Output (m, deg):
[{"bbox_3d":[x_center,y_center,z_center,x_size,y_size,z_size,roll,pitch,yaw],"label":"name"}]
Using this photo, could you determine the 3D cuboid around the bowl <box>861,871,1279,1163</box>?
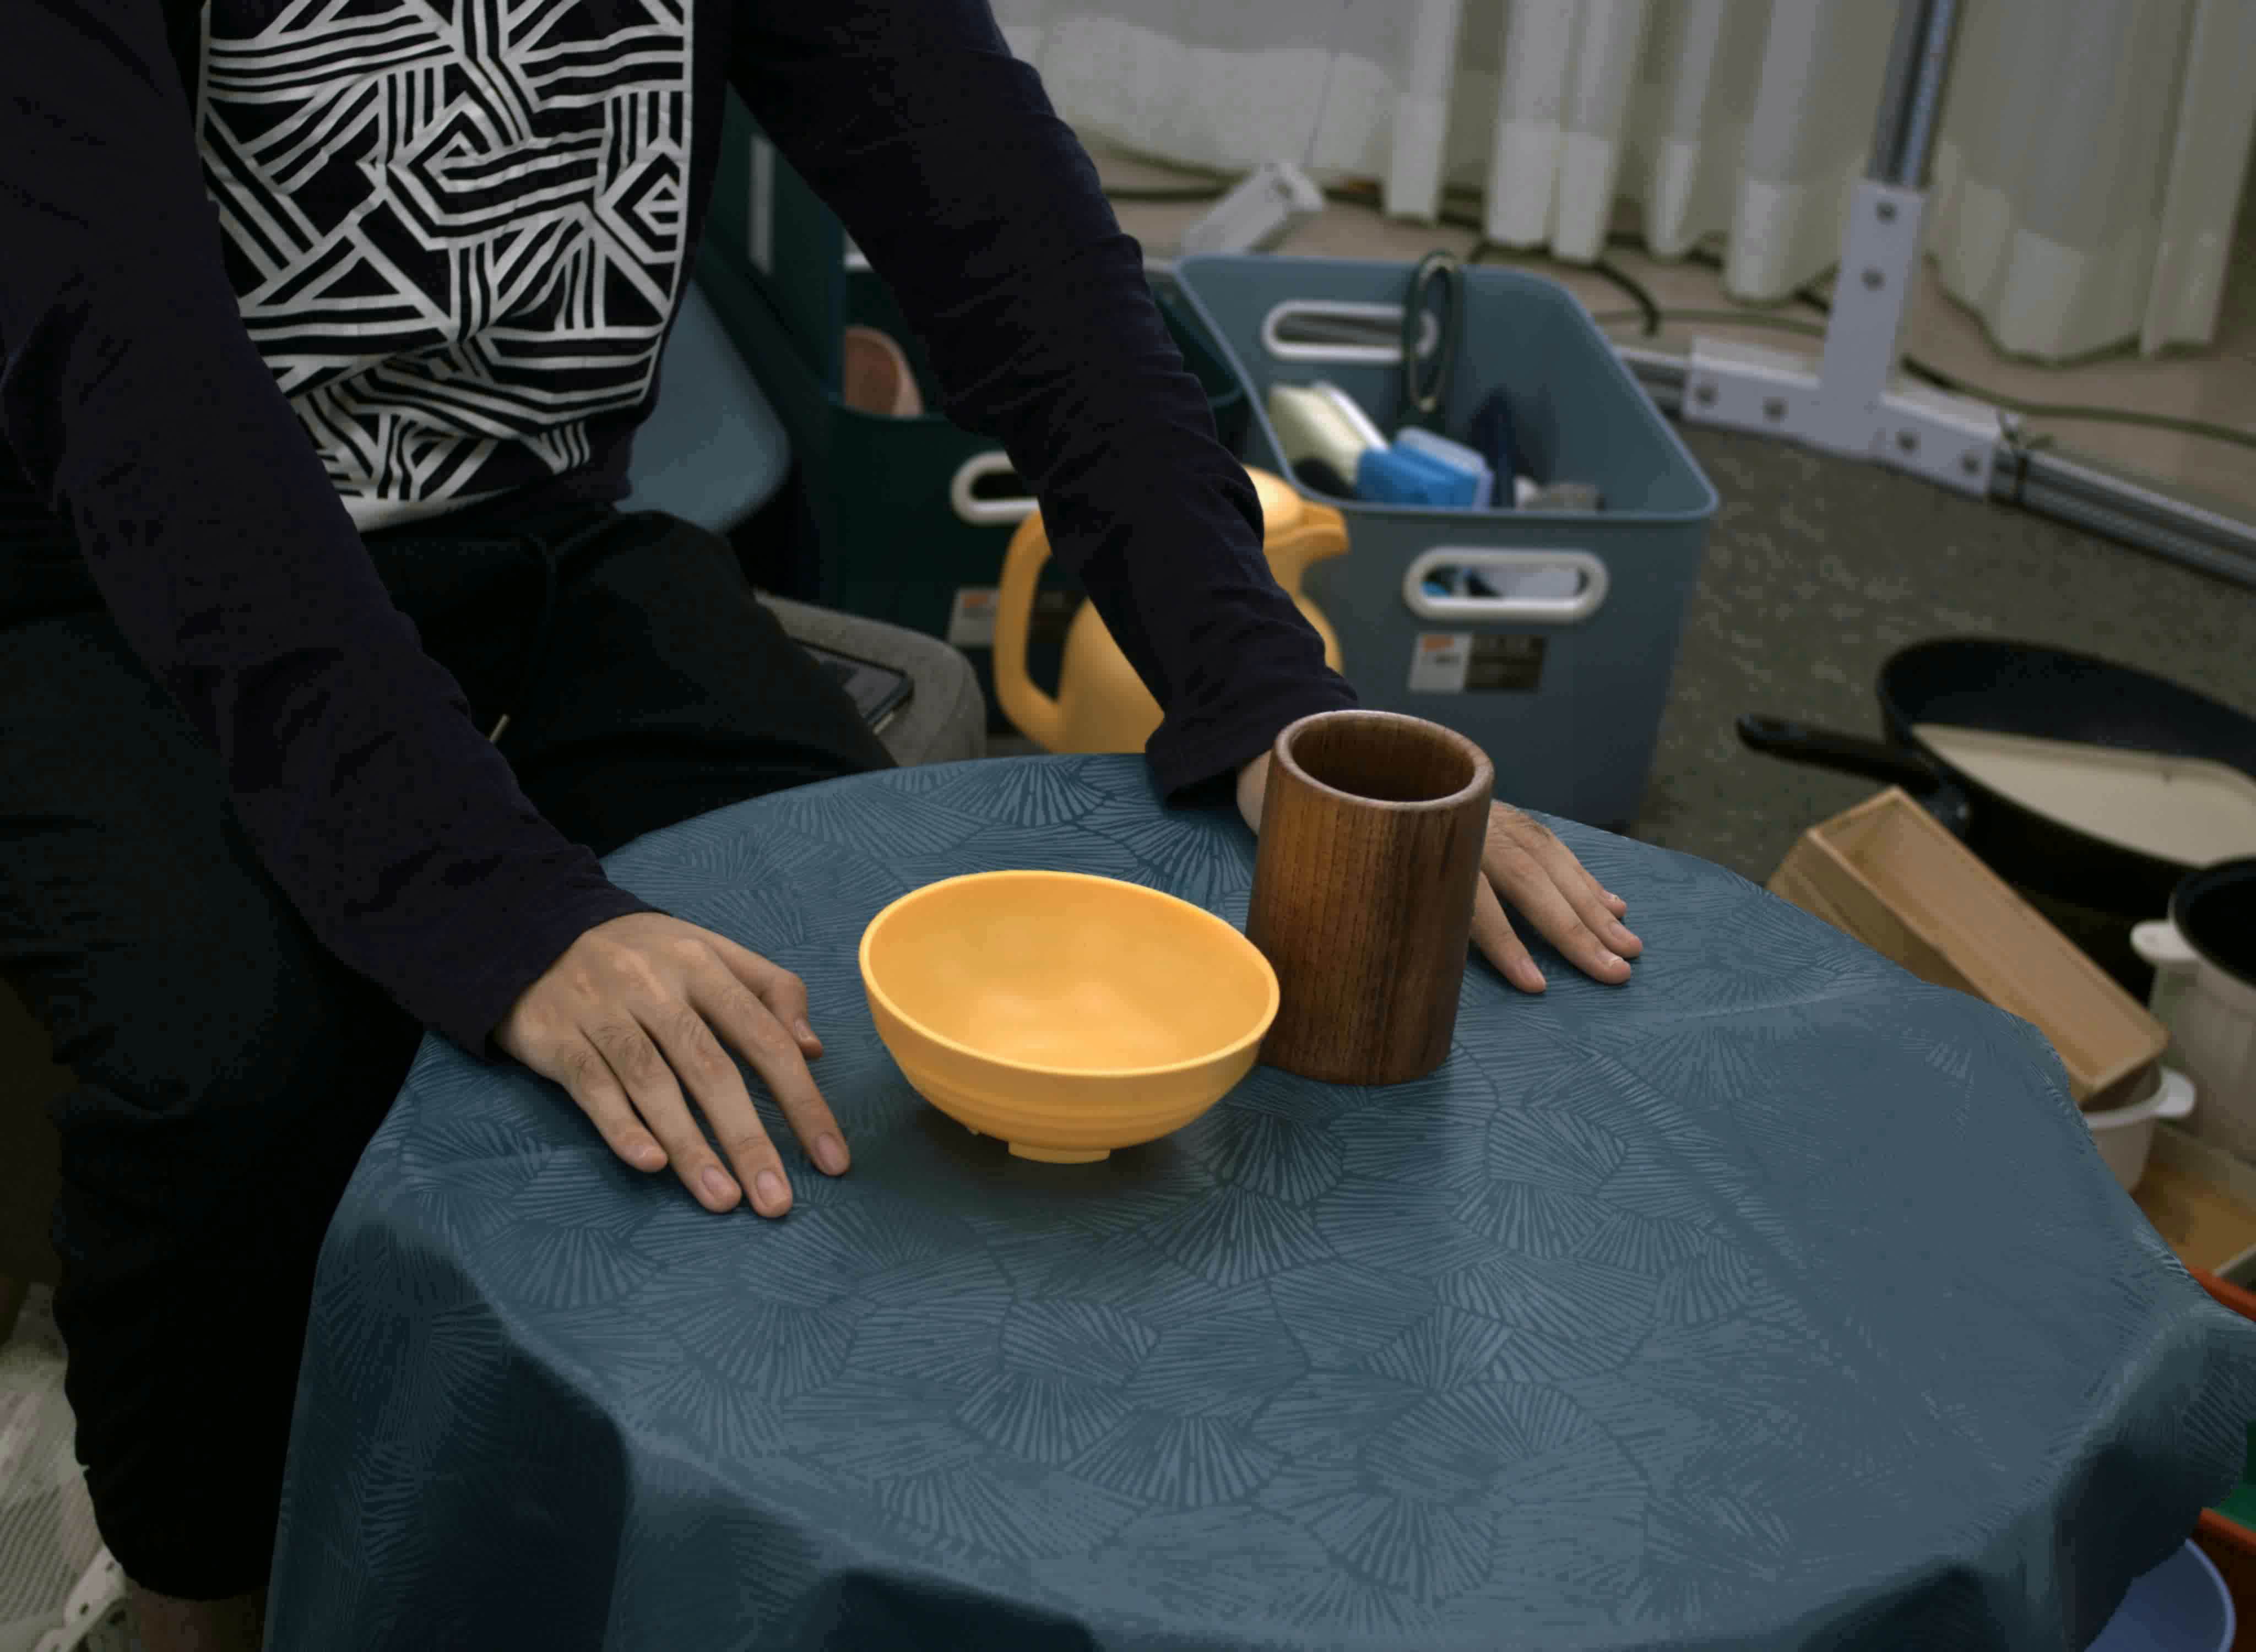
[{"bbox_3d":[-0.023,0.074,1.832,0.145,0.060,0.146,6,26,-3],"label":"bowl"}]

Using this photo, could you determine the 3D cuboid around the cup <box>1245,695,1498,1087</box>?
[{"bbox_3d":[0.083,0.023,1.895,0.087,0.118,0.088,6,25,-3],"label":"cup"}]
